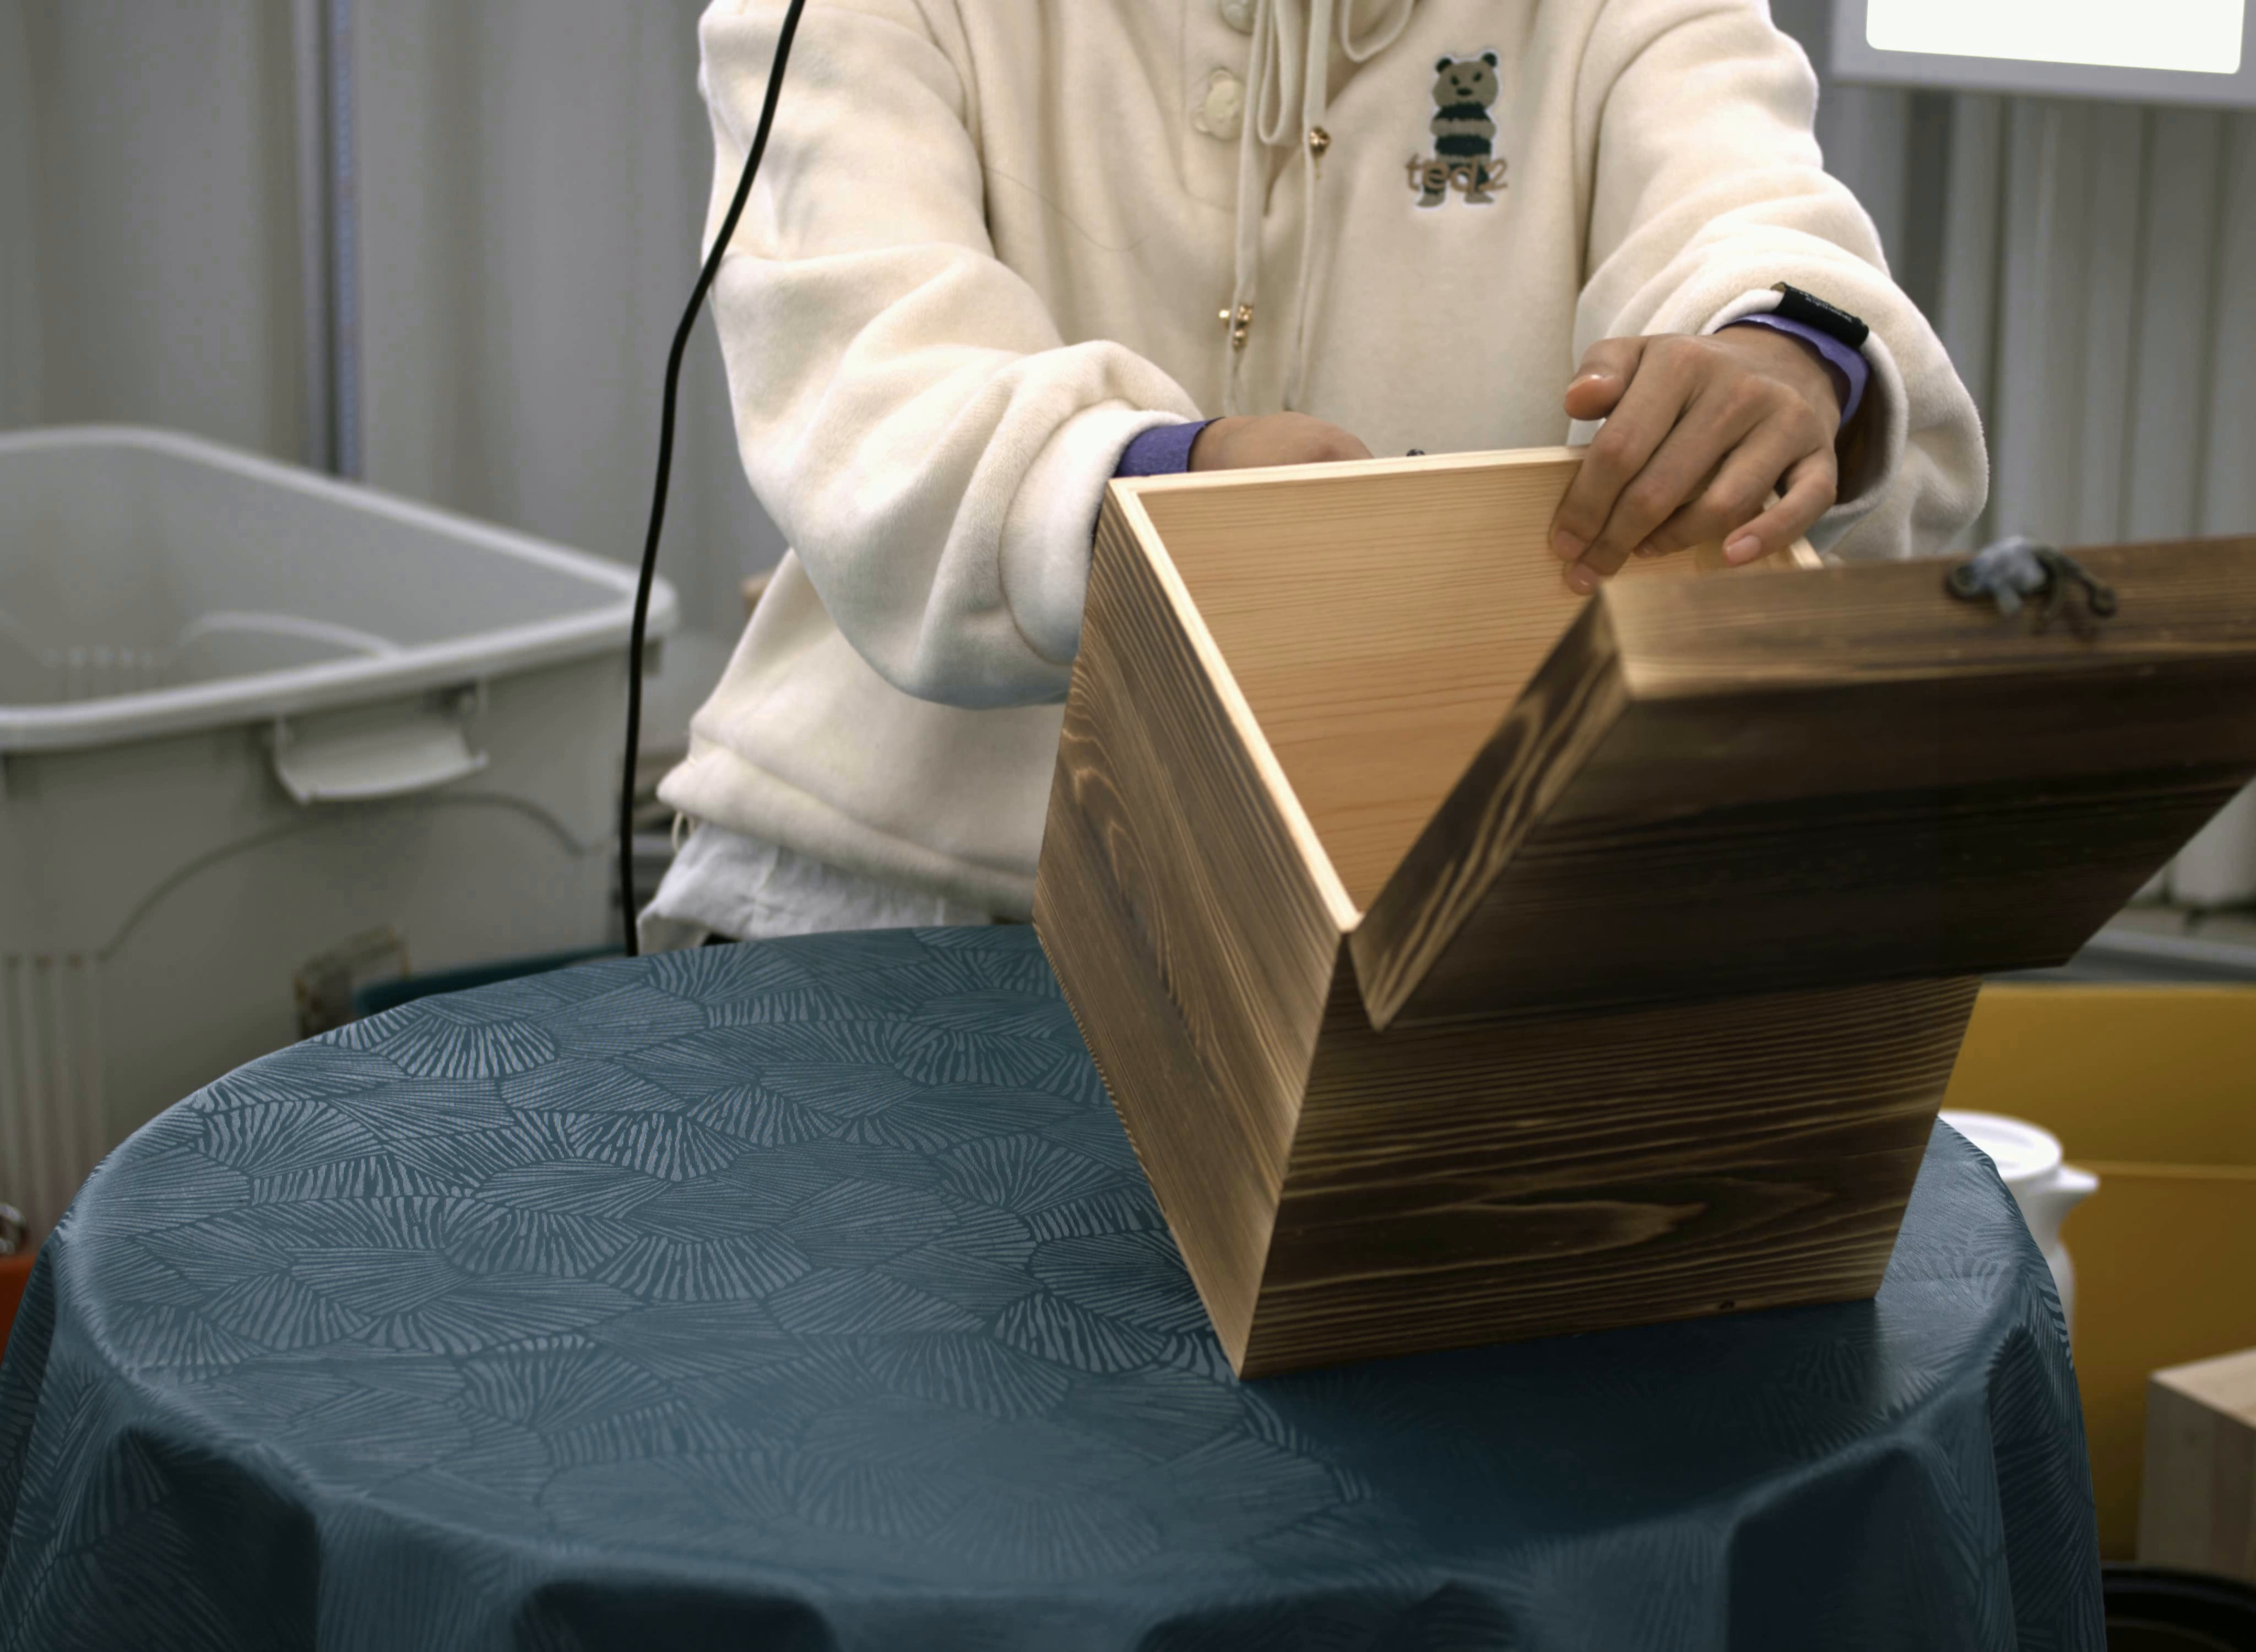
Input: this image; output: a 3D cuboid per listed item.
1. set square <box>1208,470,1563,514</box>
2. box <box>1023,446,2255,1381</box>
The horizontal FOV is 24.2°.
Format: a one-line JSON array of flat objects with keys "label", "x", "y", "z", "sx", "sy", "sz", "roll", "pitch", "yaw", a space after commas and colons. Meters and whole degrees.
[{"label": "set square", "x": 0.060, "y": -0.089, "z": 1.569, "sx": 0.132, "sy": 0.006, "sz": 0.061, "roll": -8, "pitch": -17, "yaw": -15}, {"label": "box", "x": 0.138, "y": -0.022, "z": 1.423, "sx": 0.209, "sy": 0.379, "sz": 0.318, "roll": -5, "pitch": 42, "yaw": -20}]
